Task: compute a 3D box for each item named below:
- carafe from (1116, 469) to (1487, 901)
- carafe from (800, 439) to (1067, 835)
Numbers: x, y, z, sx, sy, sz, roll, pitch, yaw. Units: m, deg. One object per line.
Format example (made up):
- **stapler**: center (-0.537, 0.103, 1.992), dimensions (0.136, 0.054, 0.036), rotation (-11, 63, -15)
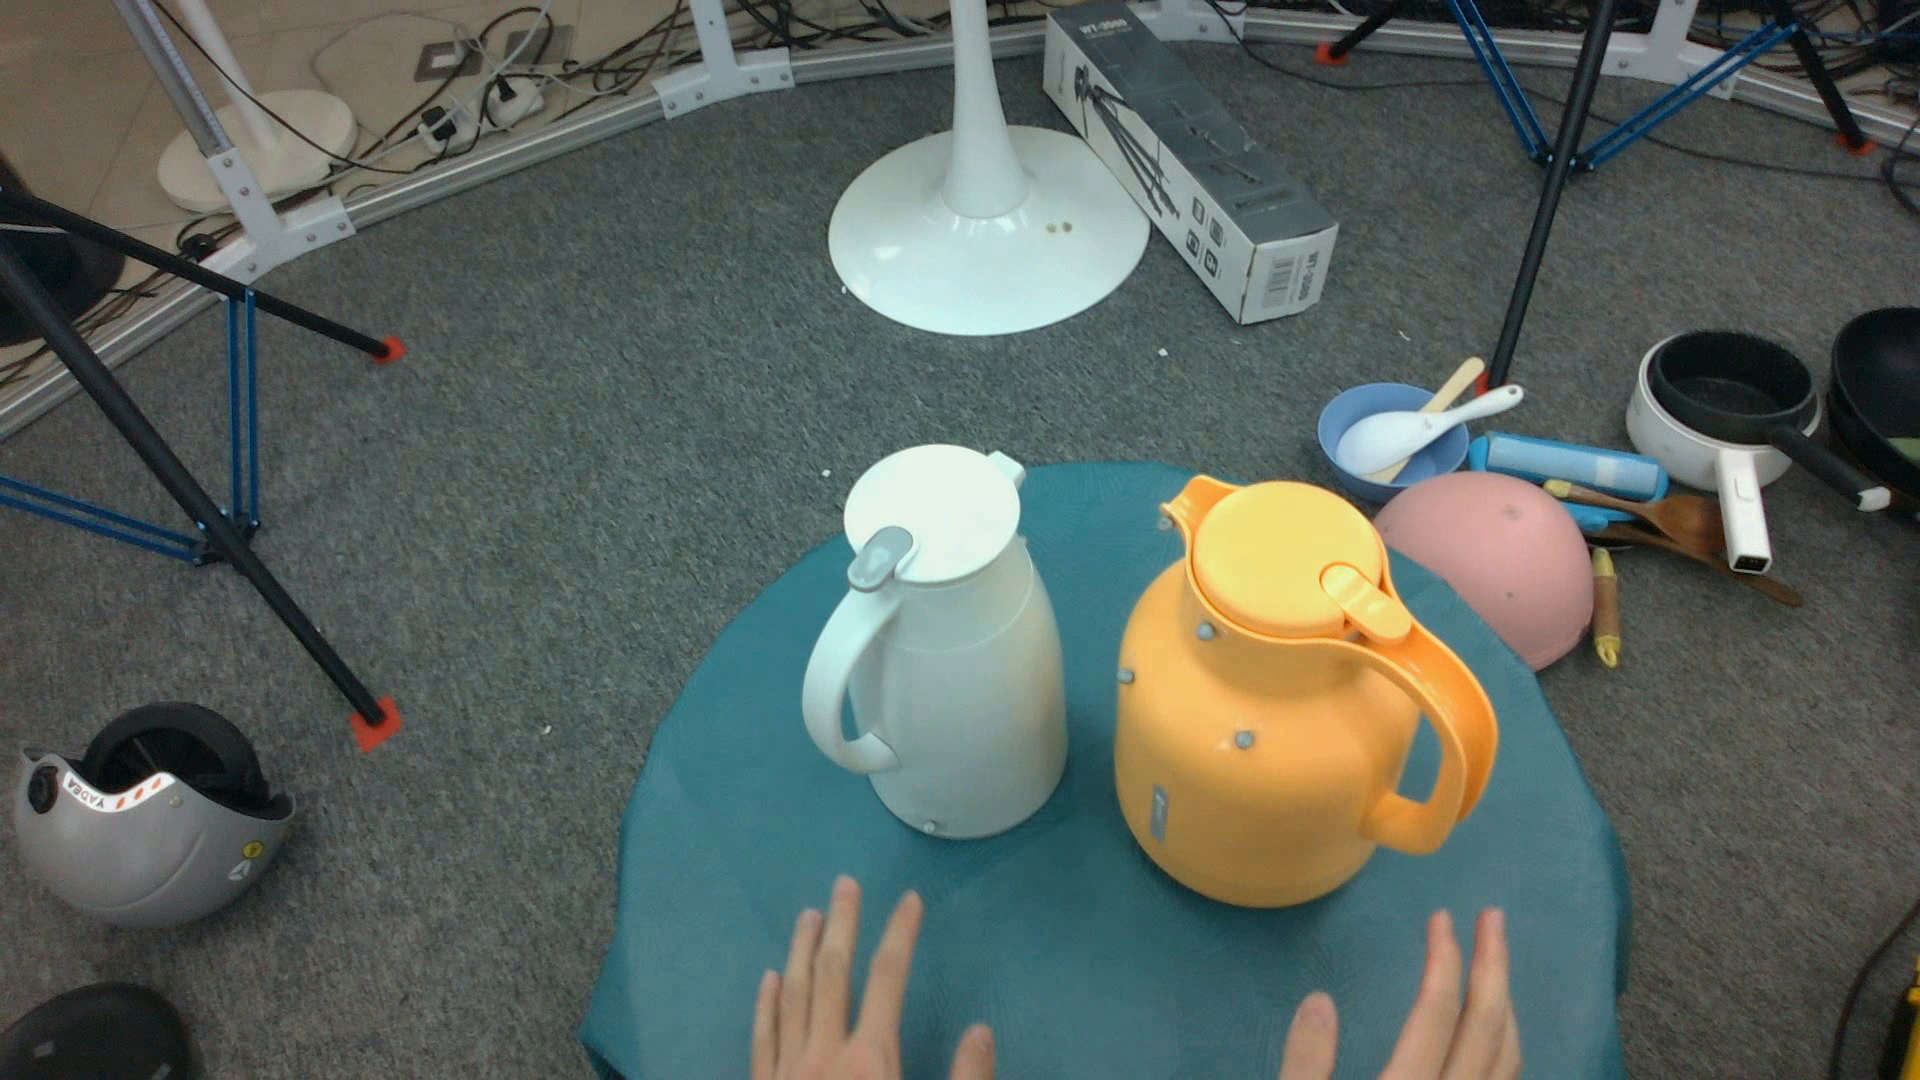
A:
- **carafe**: center (0.178, 0.089, 0.743), dimensions (0.164, 0.259, 0.202), rotation (-37, 55, -20)
- **carafe**: center (-0.018, 0.067, 0.786), dimensions (0.132, 0.247, 0.168), rotation (32, 61, 27)
